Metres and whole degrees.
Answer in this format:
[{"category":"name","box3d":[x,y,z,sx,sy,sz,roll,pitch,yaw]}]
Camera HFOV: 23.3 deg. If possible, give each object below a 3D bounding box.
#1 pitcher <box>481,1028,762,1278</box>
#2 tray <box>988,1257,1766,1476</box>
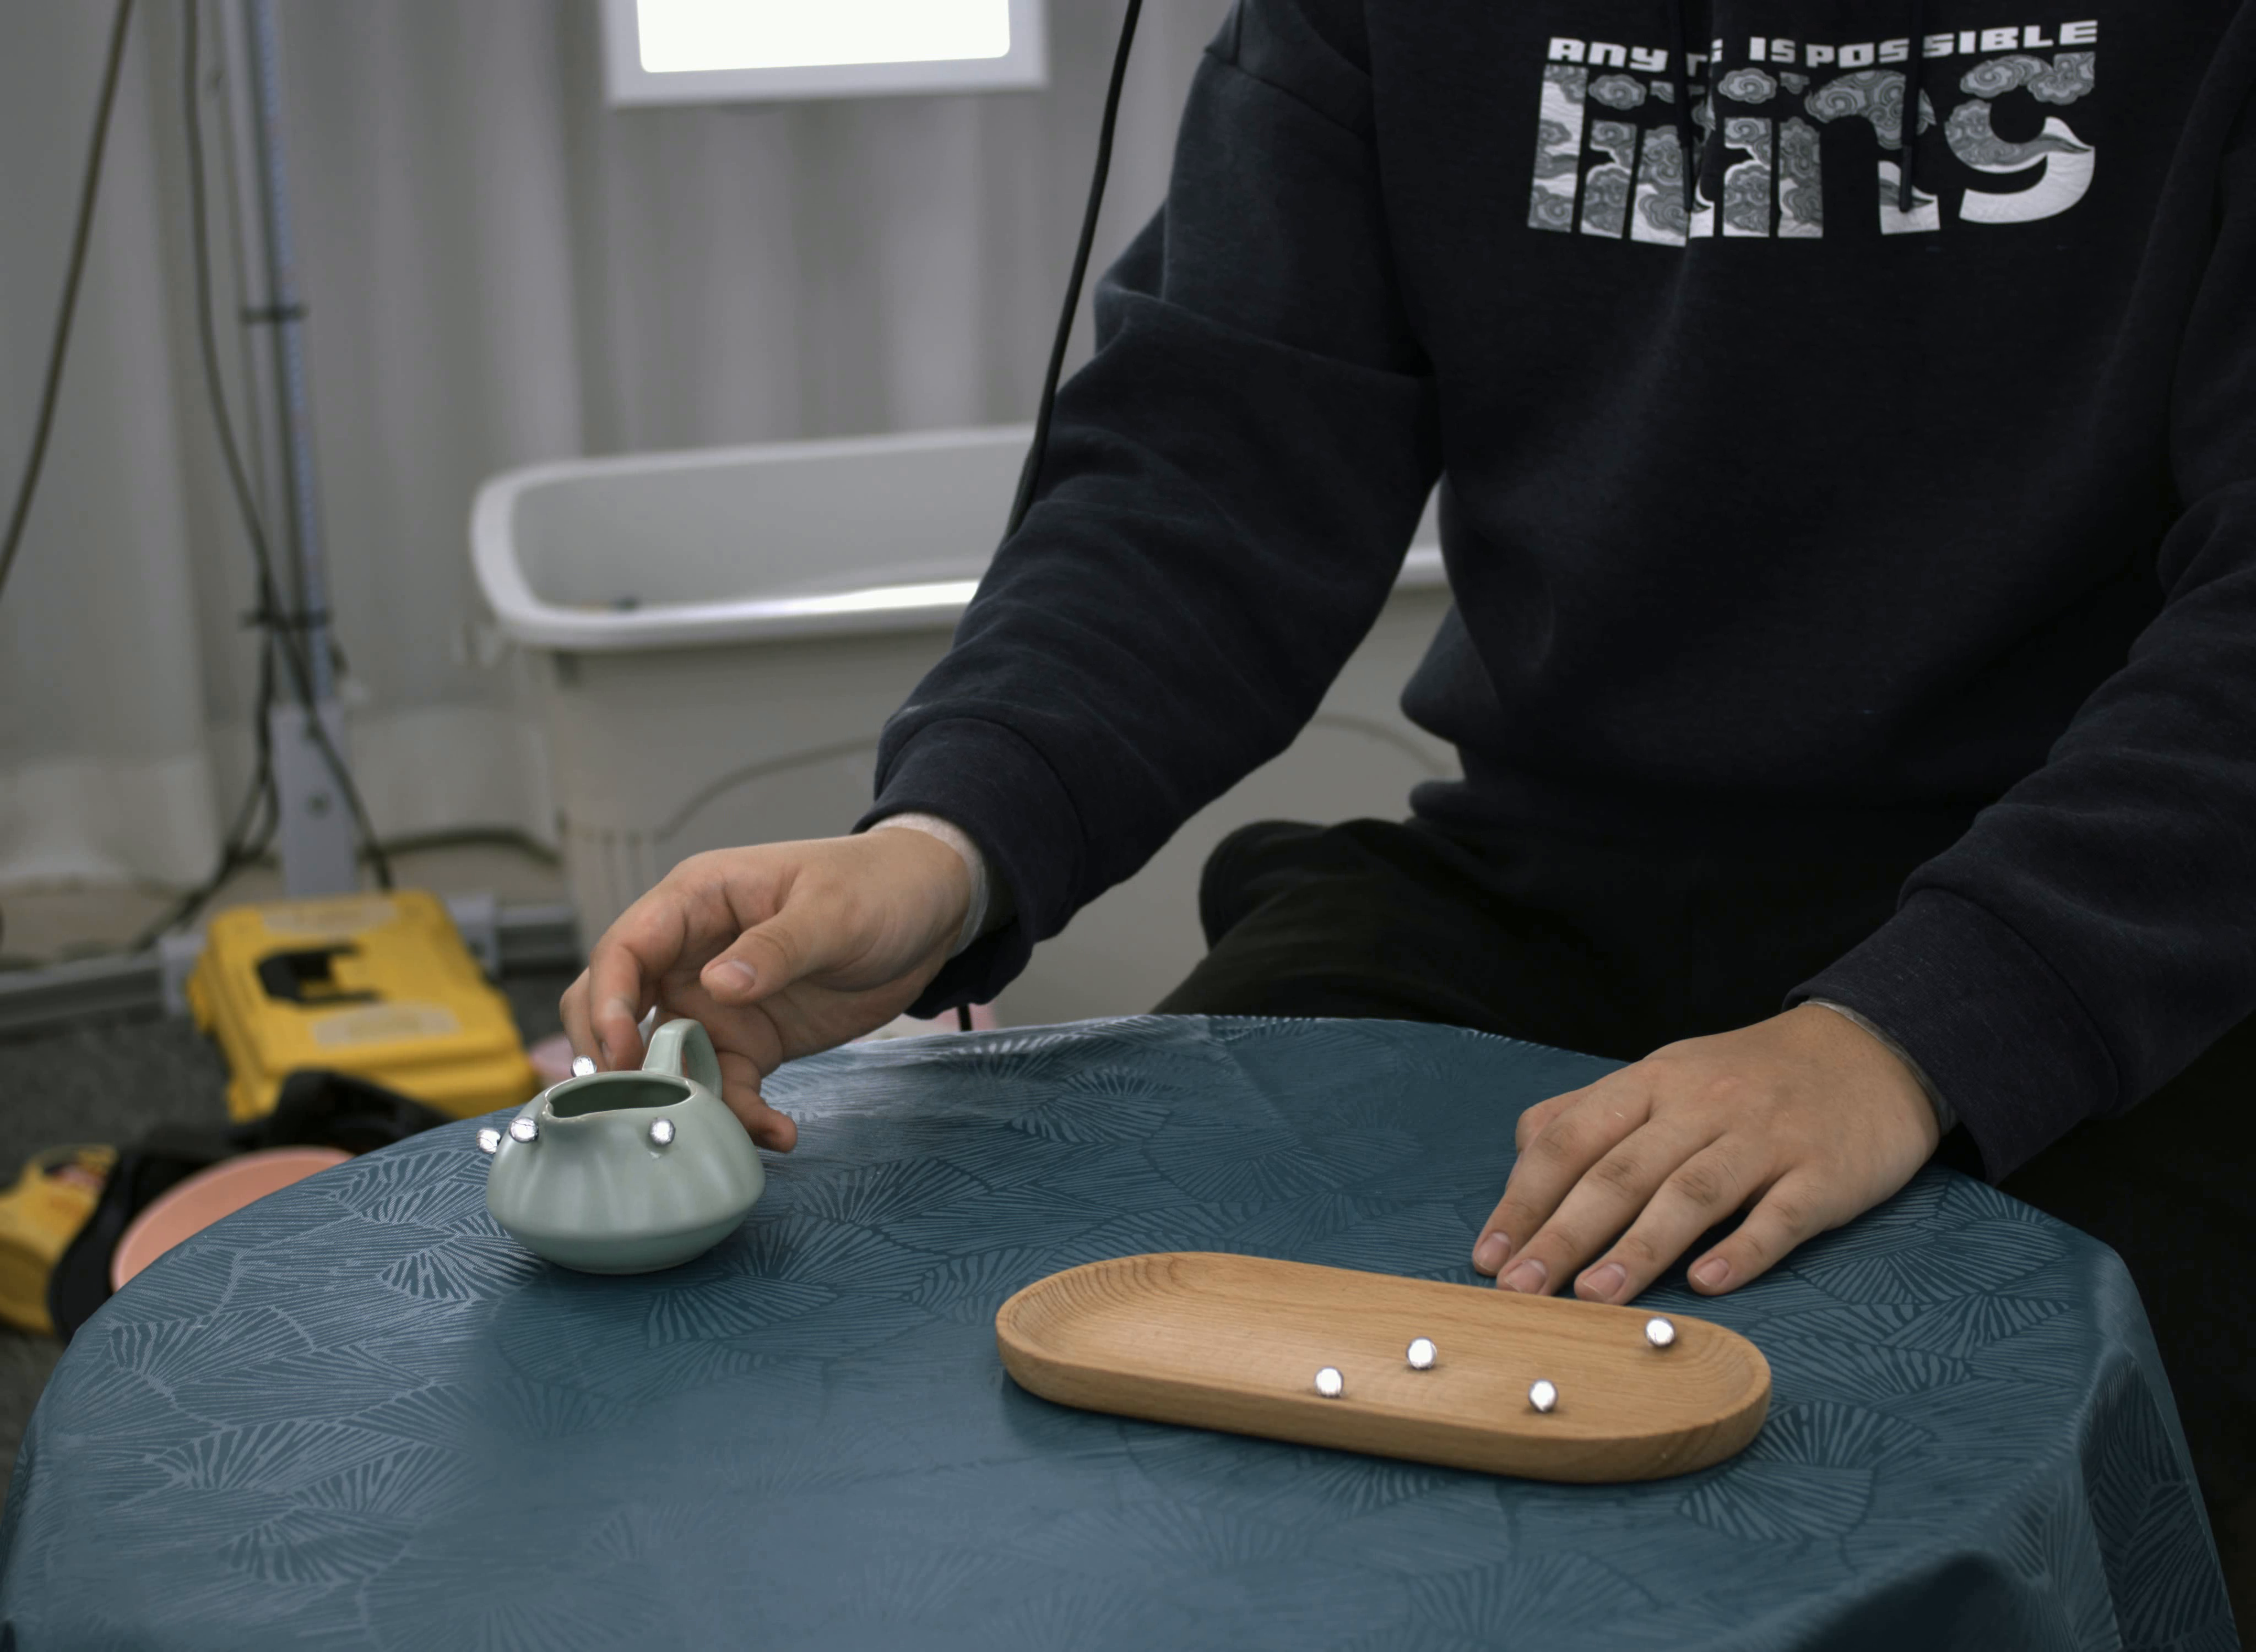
[{"category":"pitcher","box3d":[-0.152,0.101,1.687,0.086,0.060,0.108,3,13,17]},{"category":"tray","box3d":[0.068,0.152,1.537,0.231,0.020,0.102,3,14,28]}]
